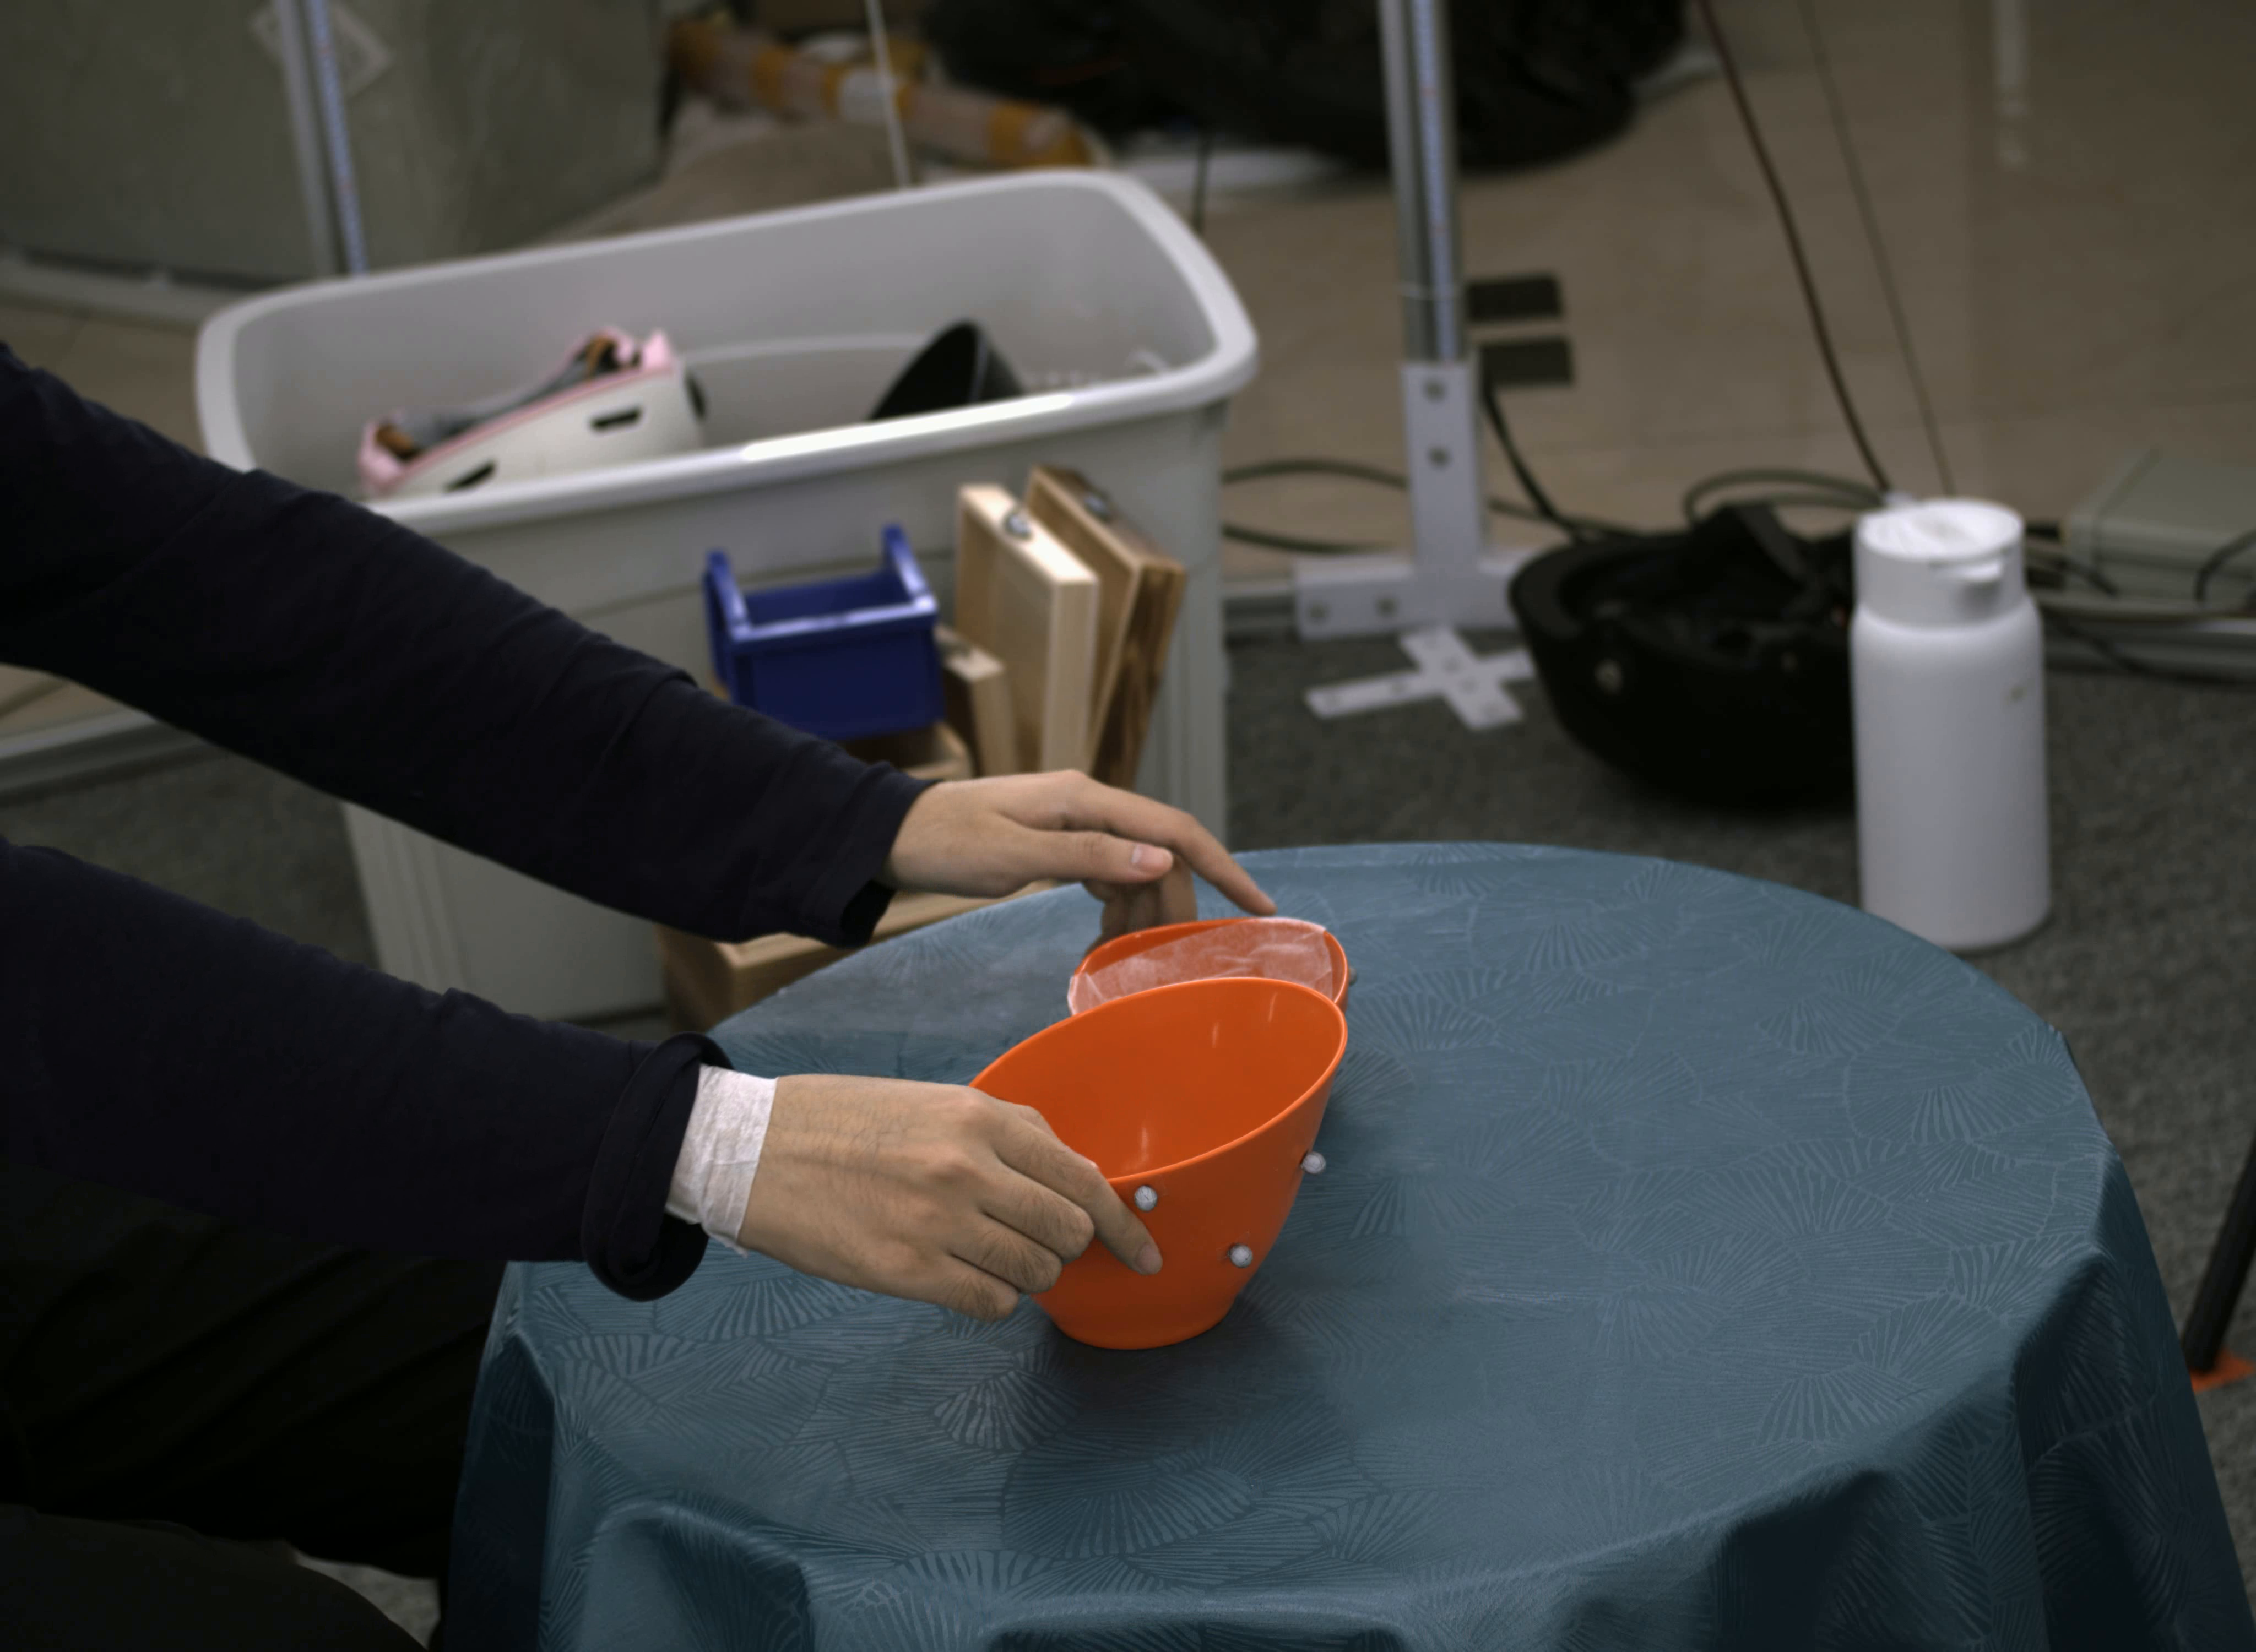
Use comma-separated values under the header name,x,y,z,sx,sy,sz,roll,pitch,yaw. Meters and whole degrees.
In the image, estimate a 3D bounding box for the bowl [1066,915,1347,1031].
name,x,y,z,sx,sy,sz,roll,pitch,yaw
bowl,0.033,0.083,2.206,0.119,0.052,0.117,-6,26,3

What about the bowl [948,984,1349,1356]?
name,x,y,z,sx,sy,sz,roll,pitch,yaw
bowl,0.011,0.130,2.049,0.148,0.106,0.146,-6,25,3
